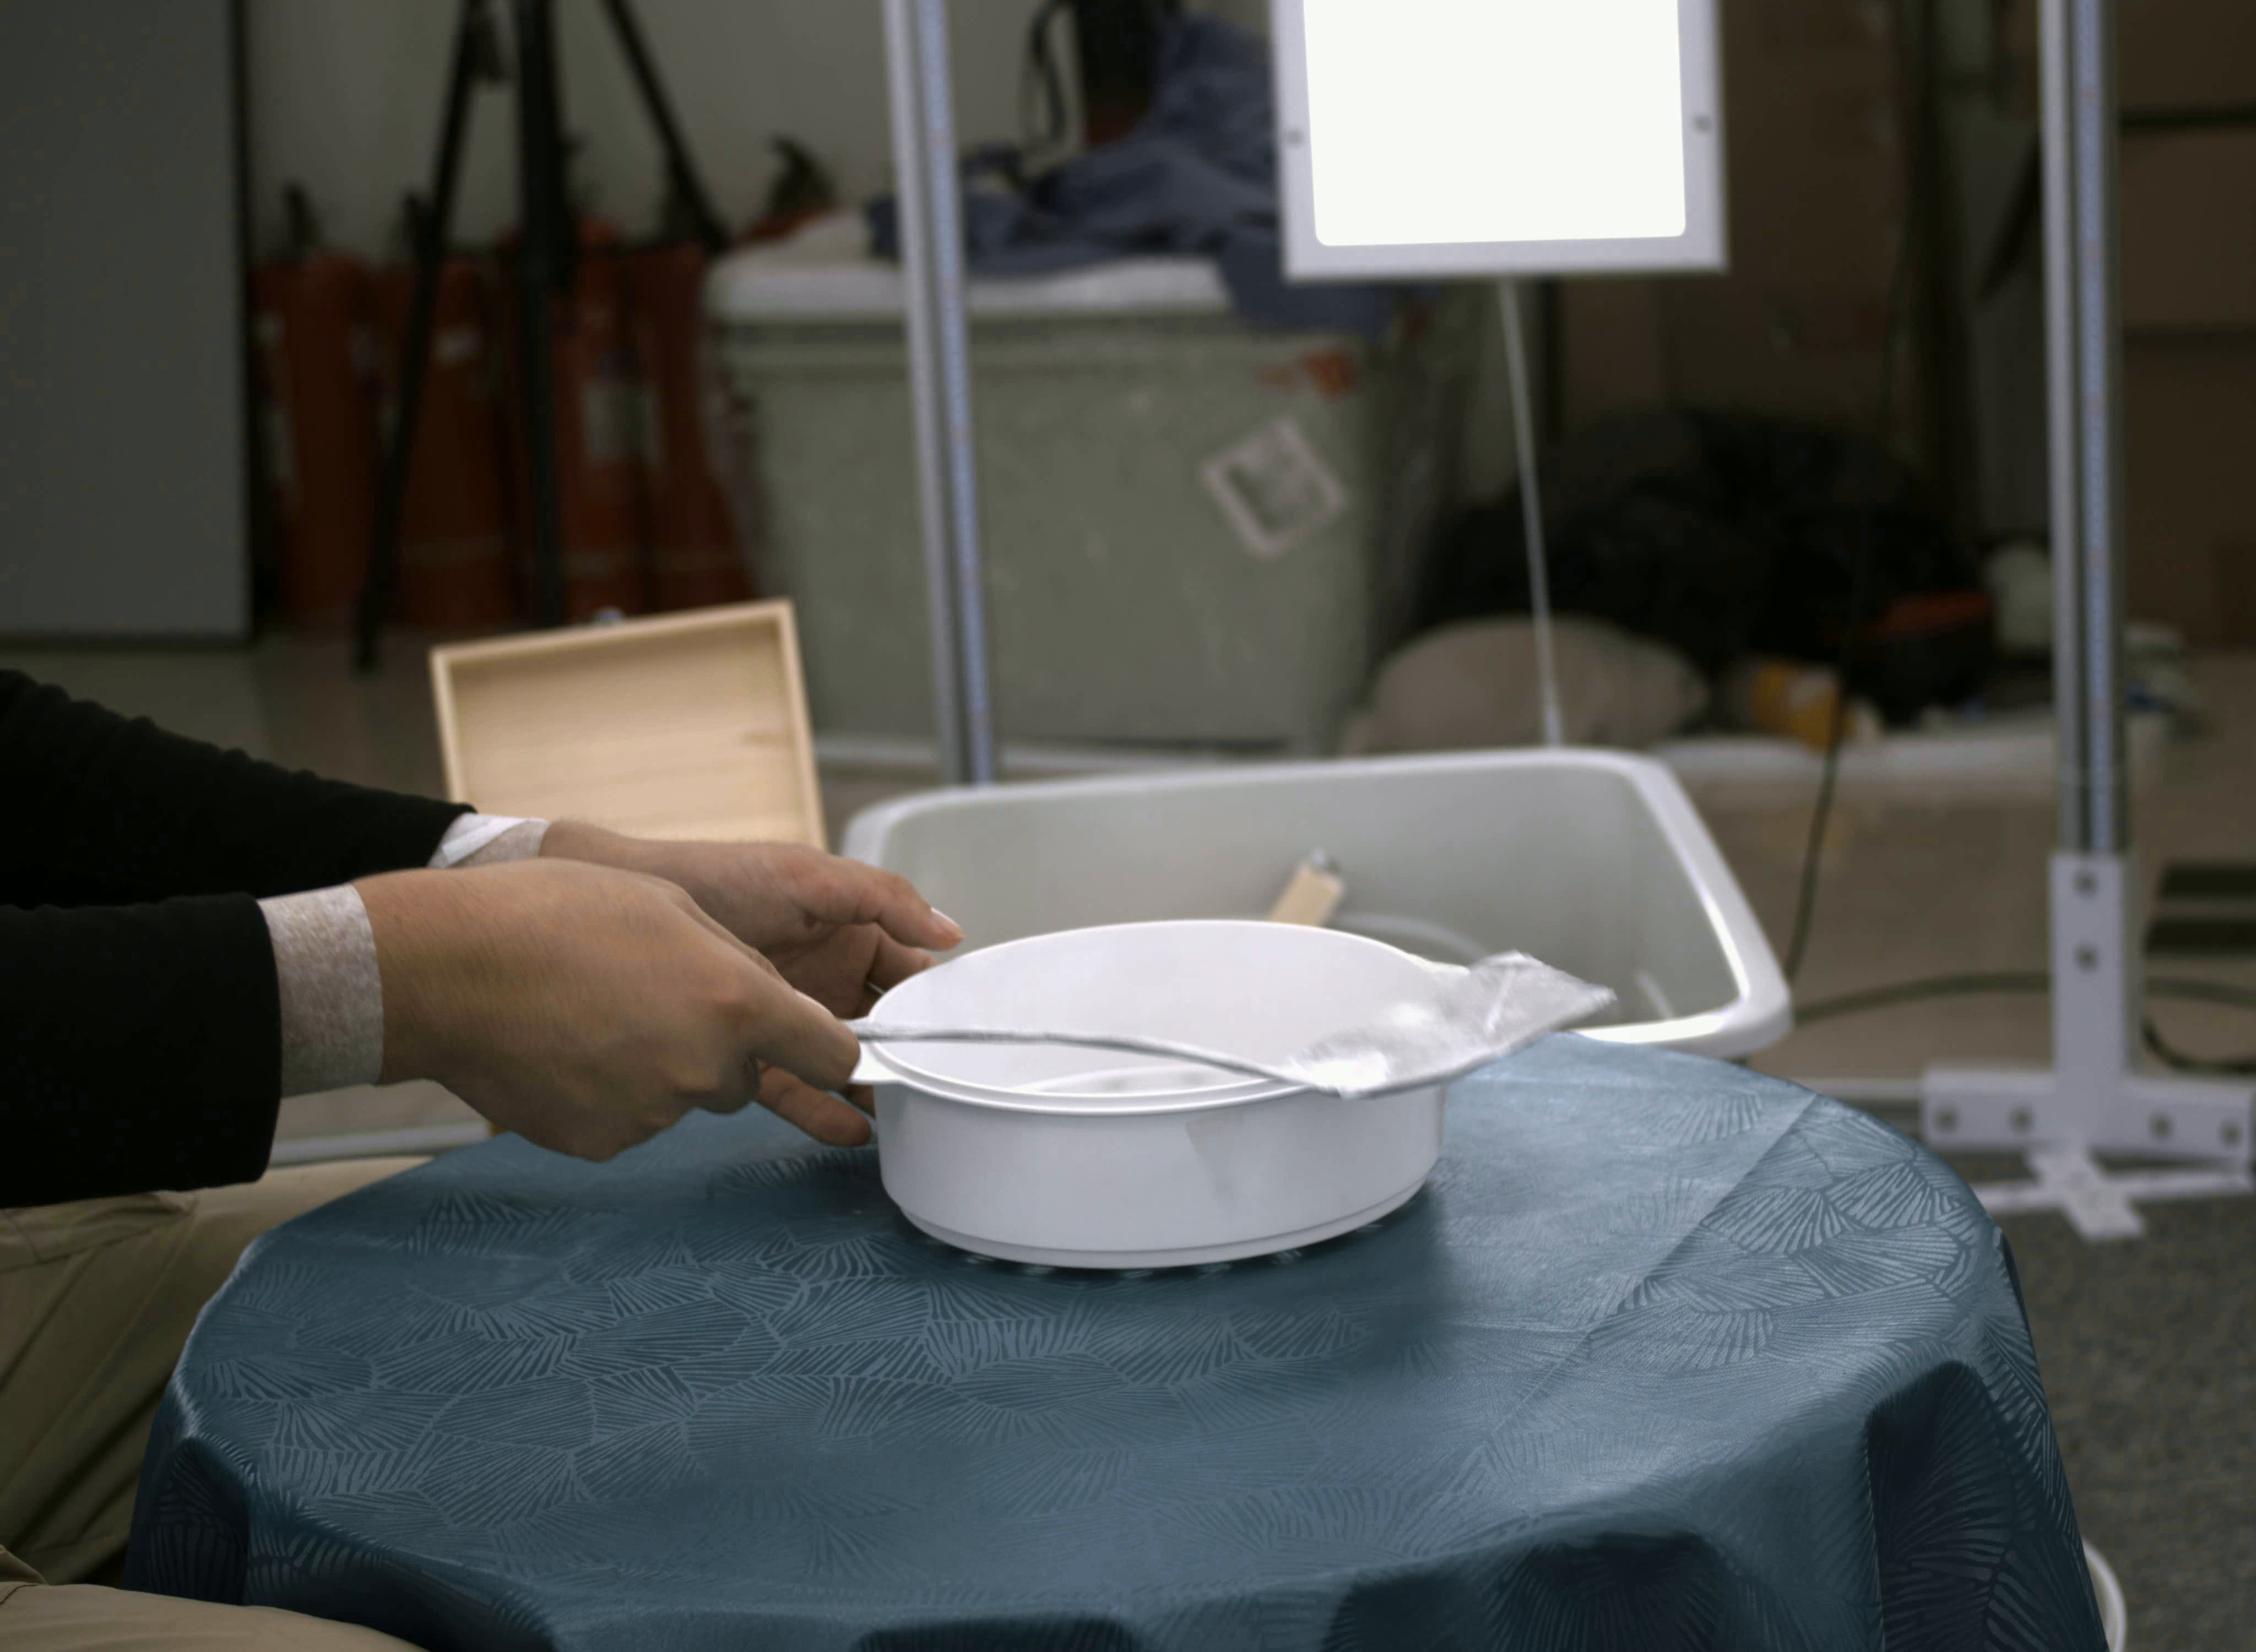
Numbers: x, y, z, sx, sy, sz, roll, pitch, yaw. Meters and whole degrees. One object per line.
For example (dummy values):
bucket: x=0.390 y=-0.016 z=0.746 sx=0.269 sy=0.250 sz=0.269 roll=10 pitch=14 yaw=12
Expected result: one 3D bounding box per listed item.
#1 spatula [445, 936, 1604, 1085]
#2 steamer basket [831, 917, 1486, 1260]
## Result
spatula: x=-0.030 y=0.058 z=1.711 sx=0.360 sy=0.045 sz=0.099 roll=2 pitch=8 yaw=-14
steamer basket: x=0.015 y=0.090 z=1.884 sx=0.229 sy=0.069 sz=0.203 roll=-7 pitch=15 yaw=-7
